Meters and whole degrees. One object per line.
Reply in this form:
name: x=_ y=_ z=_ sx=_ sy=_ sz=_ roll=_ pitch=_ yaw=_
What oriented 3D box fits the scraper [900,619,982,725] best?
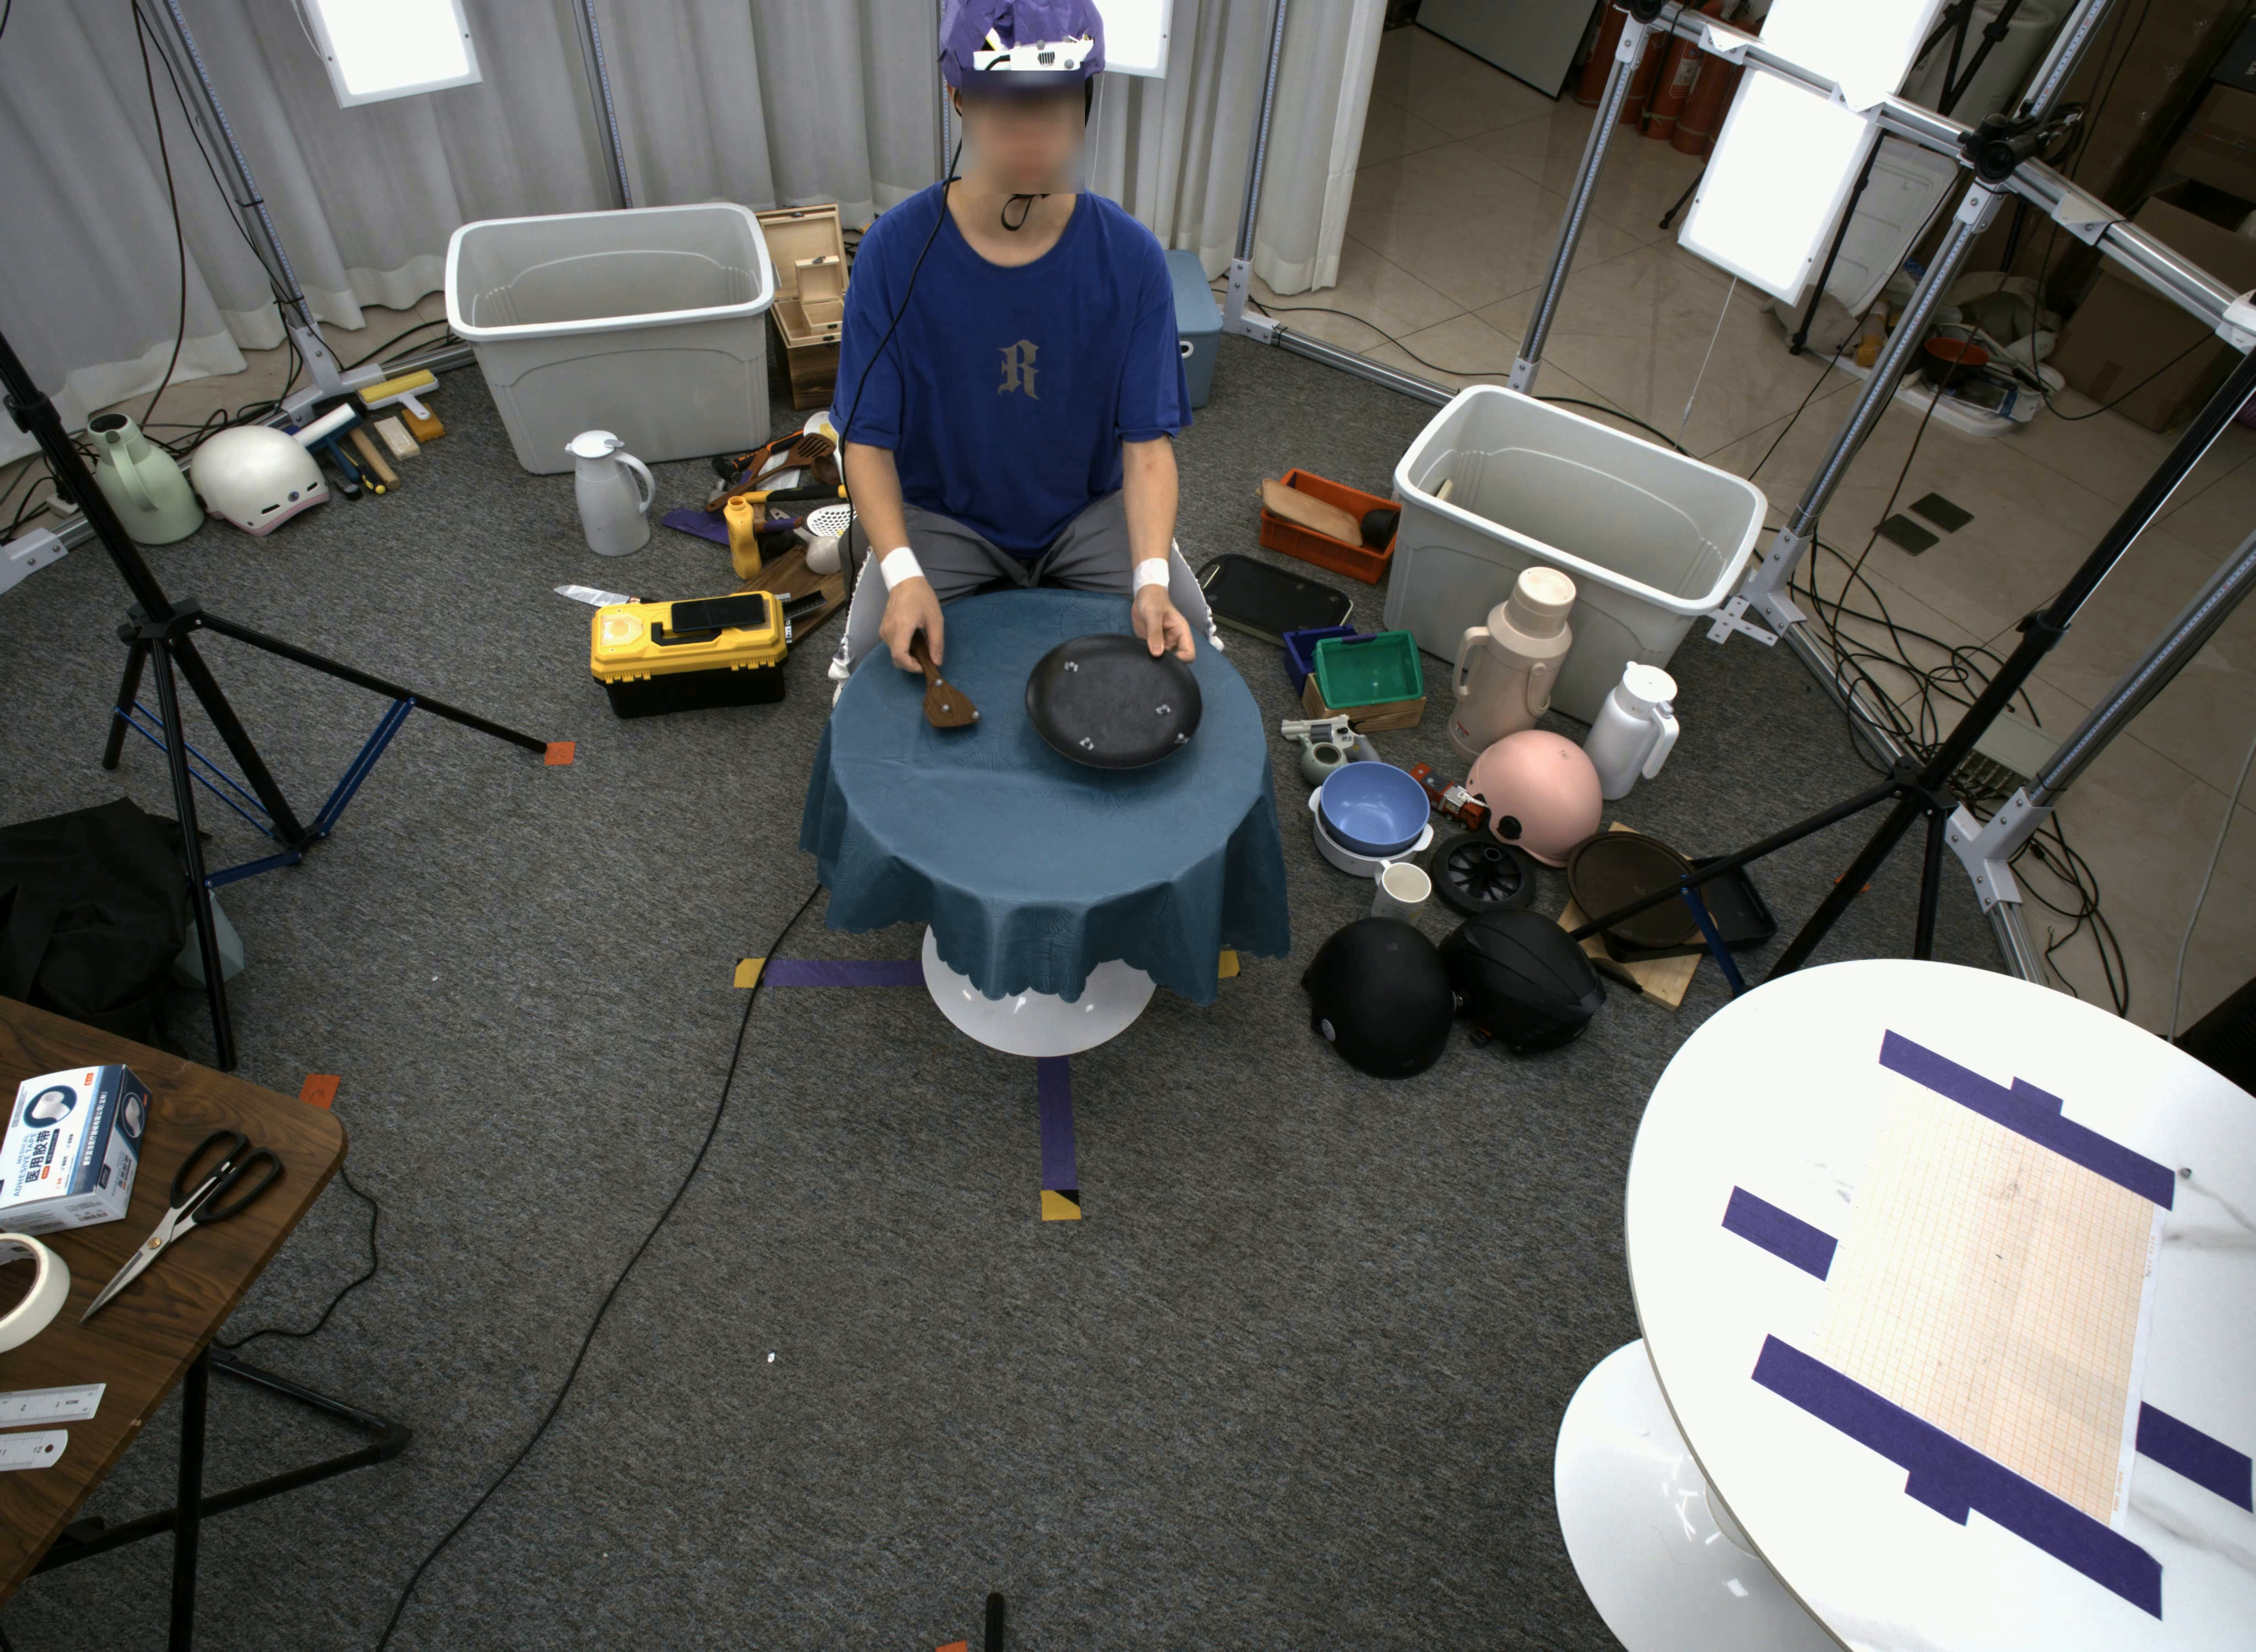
scraper: x=-0.274 y=-0.218 z=1.807 sx=0.076 sy=0.010 sz=0.216 roll=-10 pitch=54 yaw=-27

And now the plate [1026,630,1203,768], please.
plate: x=-0.019 y=-0.173 z=1.767 sx=0.244 sy=0.023 sz=0.250 roll=2 pitch=54 yaw=-3
